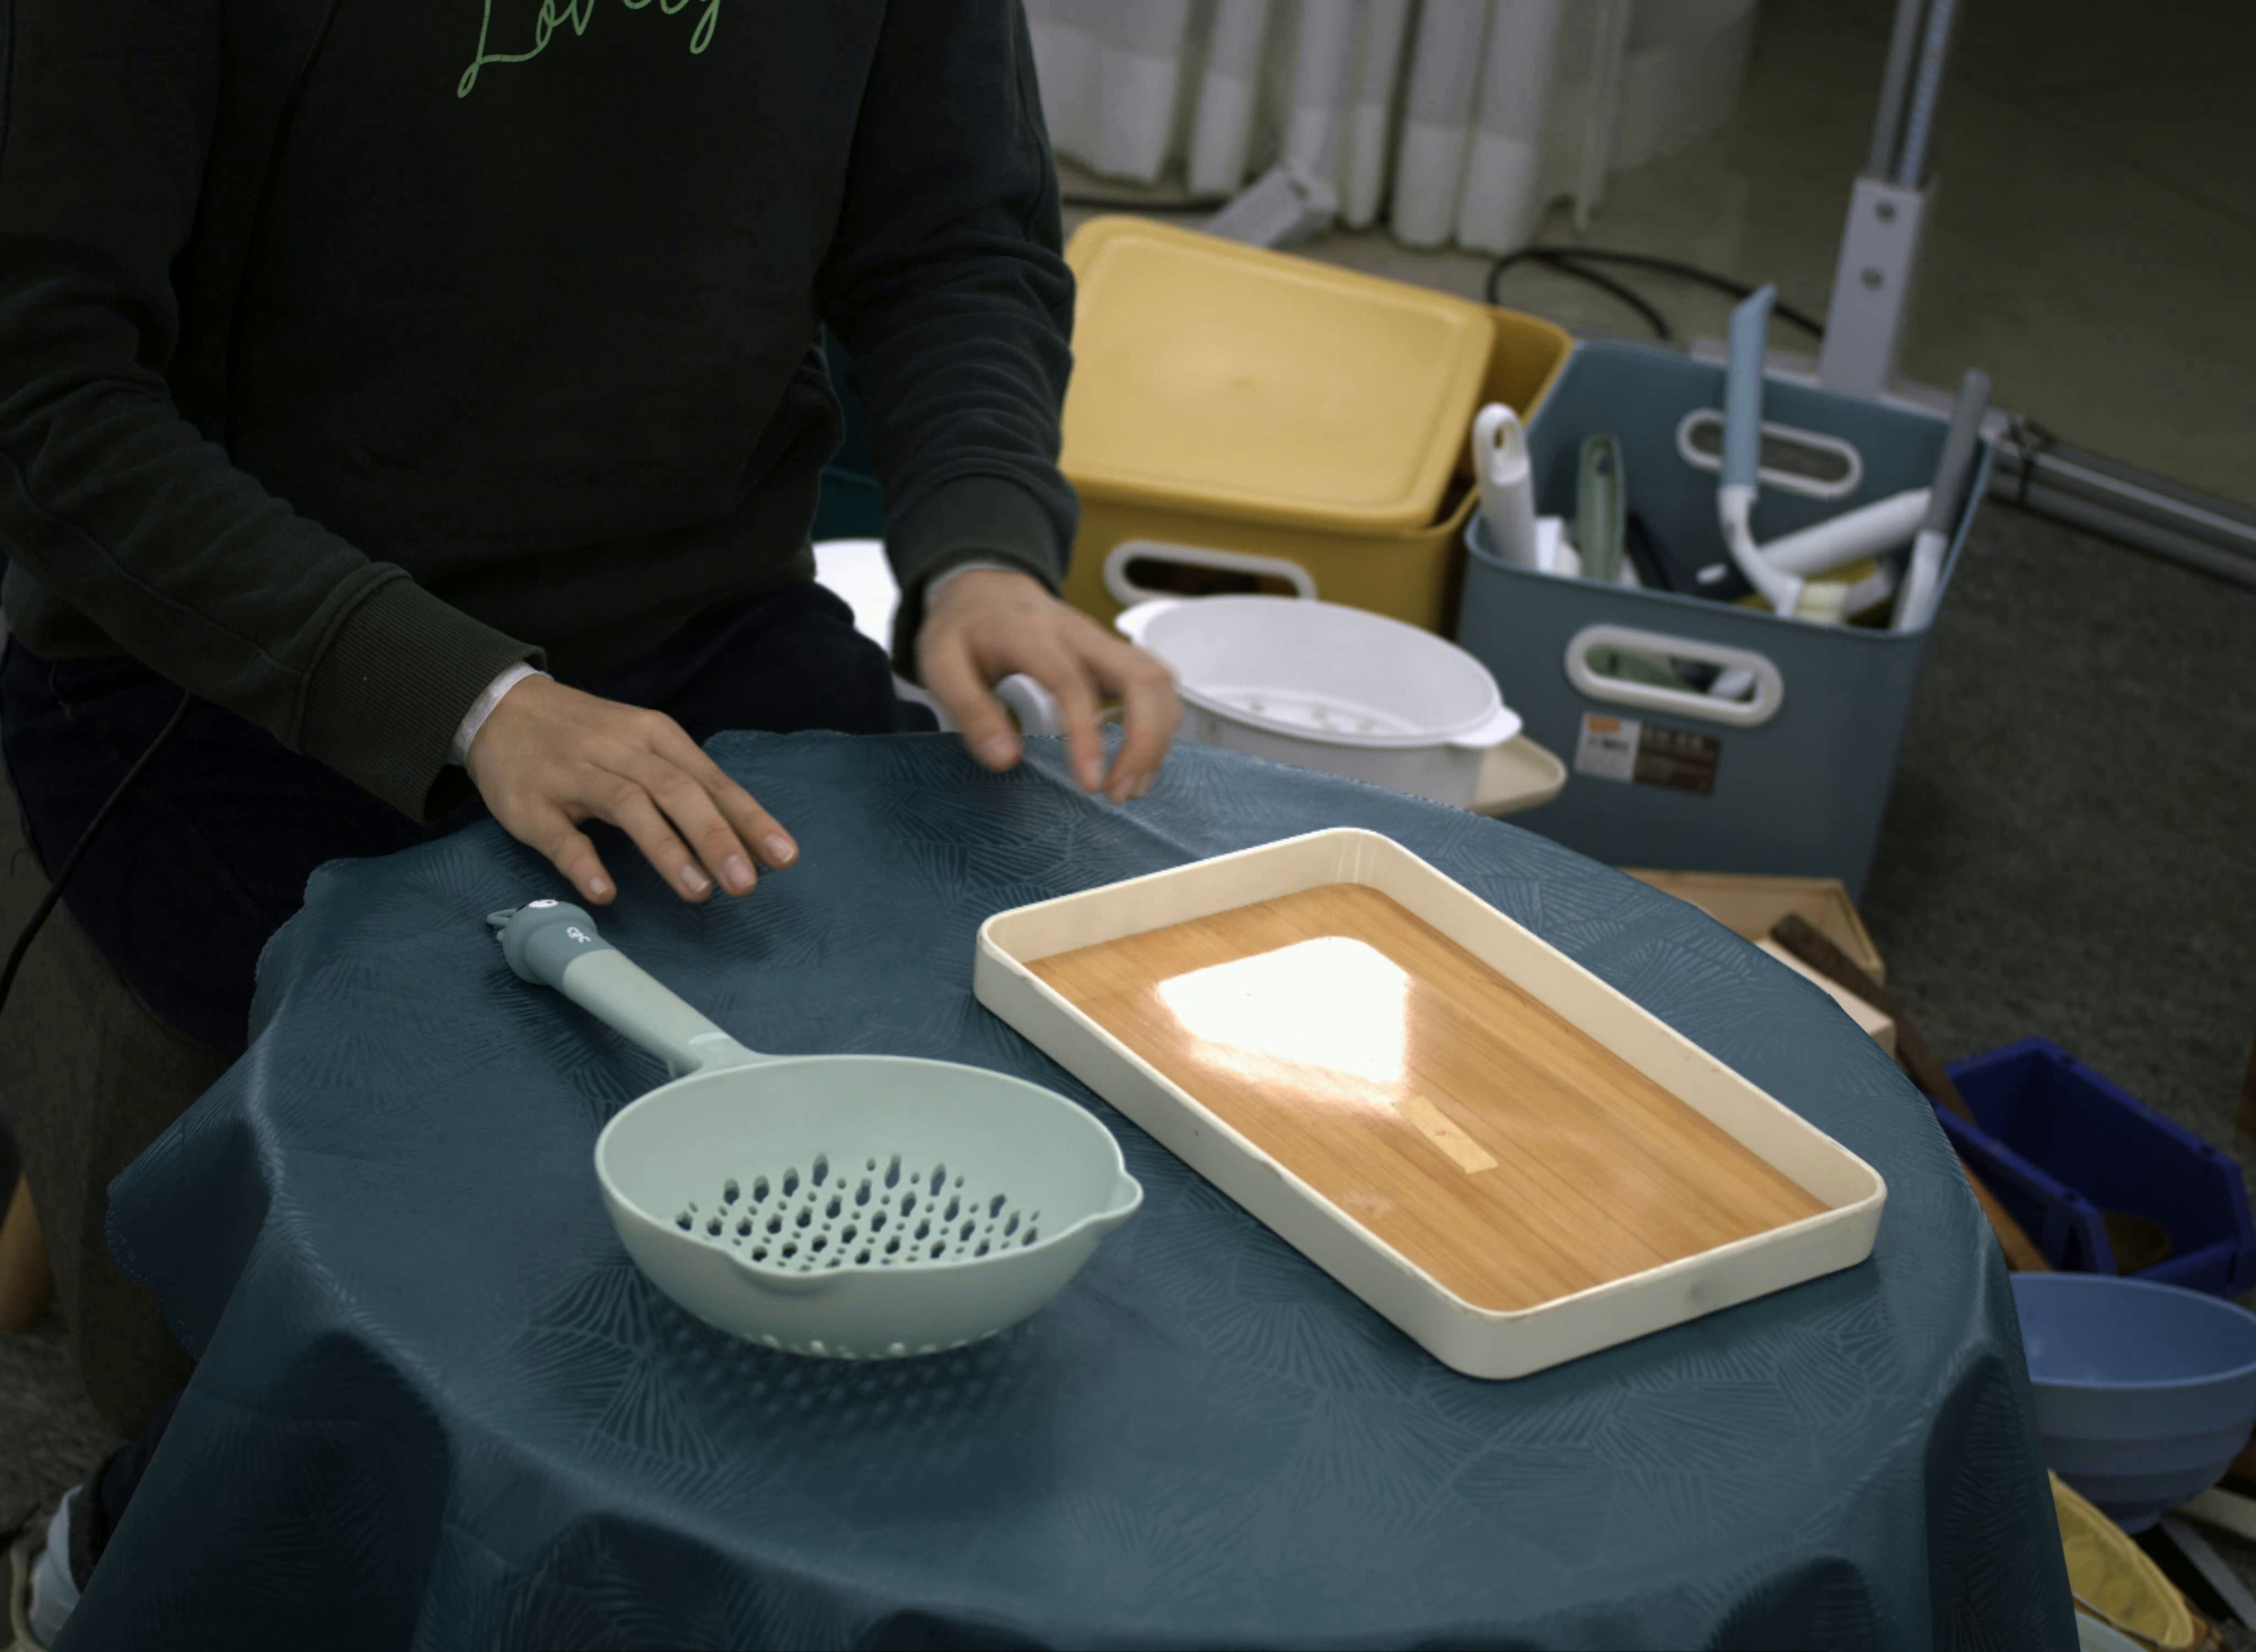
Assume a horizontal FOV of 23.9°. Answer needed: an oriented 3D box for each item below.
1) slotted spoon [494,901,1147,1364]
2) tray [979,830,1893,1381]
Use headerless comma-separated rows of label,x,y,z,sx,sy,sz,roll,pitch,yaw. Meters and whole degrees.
slotted spoon,-0.134,0.086,1.773,0.168,0.075,0.362,-8,30,-29
tray,0.103,0.091,1.859,0.190,0.027,0.303,-13,33,-34
